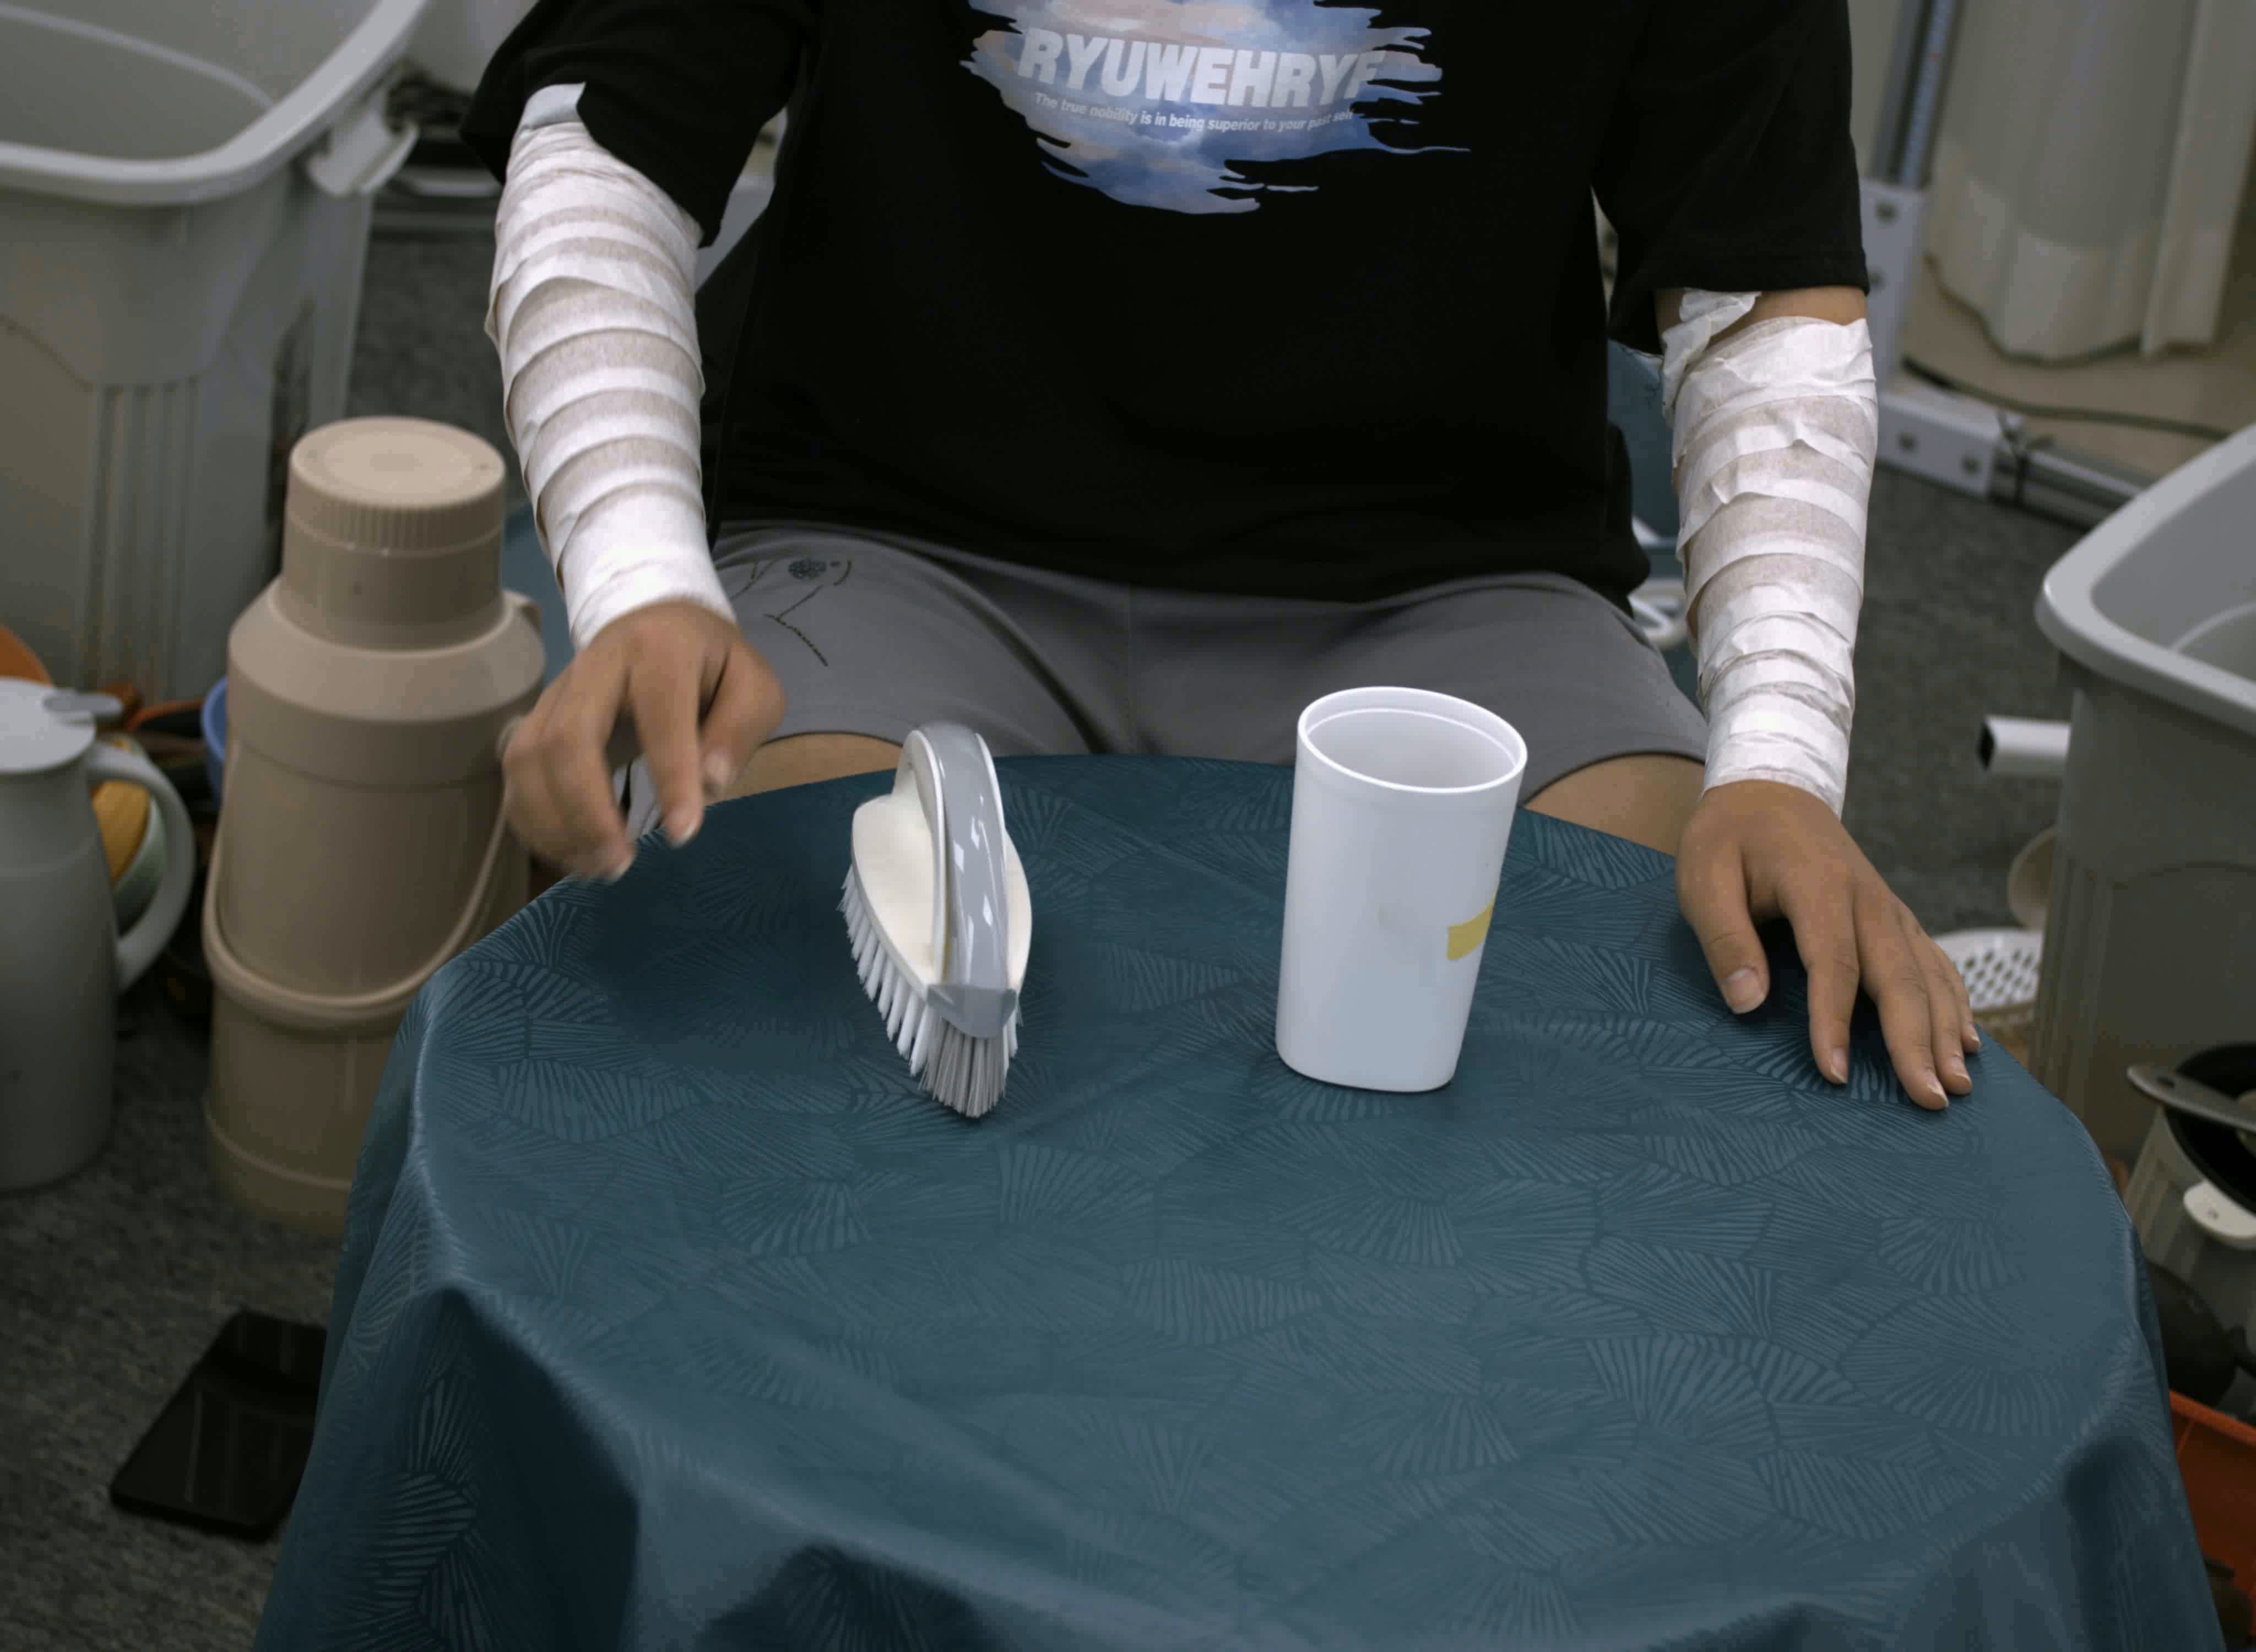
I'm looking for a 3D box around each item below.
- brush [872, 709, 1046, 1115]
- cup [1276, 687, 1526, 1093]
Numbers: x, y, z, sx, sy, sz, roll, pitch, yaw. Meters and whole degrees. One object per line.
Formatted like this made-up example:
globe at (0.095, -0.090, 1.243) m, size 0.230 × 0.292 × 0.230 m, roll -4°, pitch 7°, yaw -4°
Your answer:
brush at (-0.057, 0.022, 1.890) m, size 0.061 × 0.094 × 0.177 m, roll -2°, pitch 29°, yaw -7°
cup at (0.093, 0.024, 1.884) m, size 0.081 × 0.125 × 0.082 m, roll 5°, pitch 27°, yaw -3°
